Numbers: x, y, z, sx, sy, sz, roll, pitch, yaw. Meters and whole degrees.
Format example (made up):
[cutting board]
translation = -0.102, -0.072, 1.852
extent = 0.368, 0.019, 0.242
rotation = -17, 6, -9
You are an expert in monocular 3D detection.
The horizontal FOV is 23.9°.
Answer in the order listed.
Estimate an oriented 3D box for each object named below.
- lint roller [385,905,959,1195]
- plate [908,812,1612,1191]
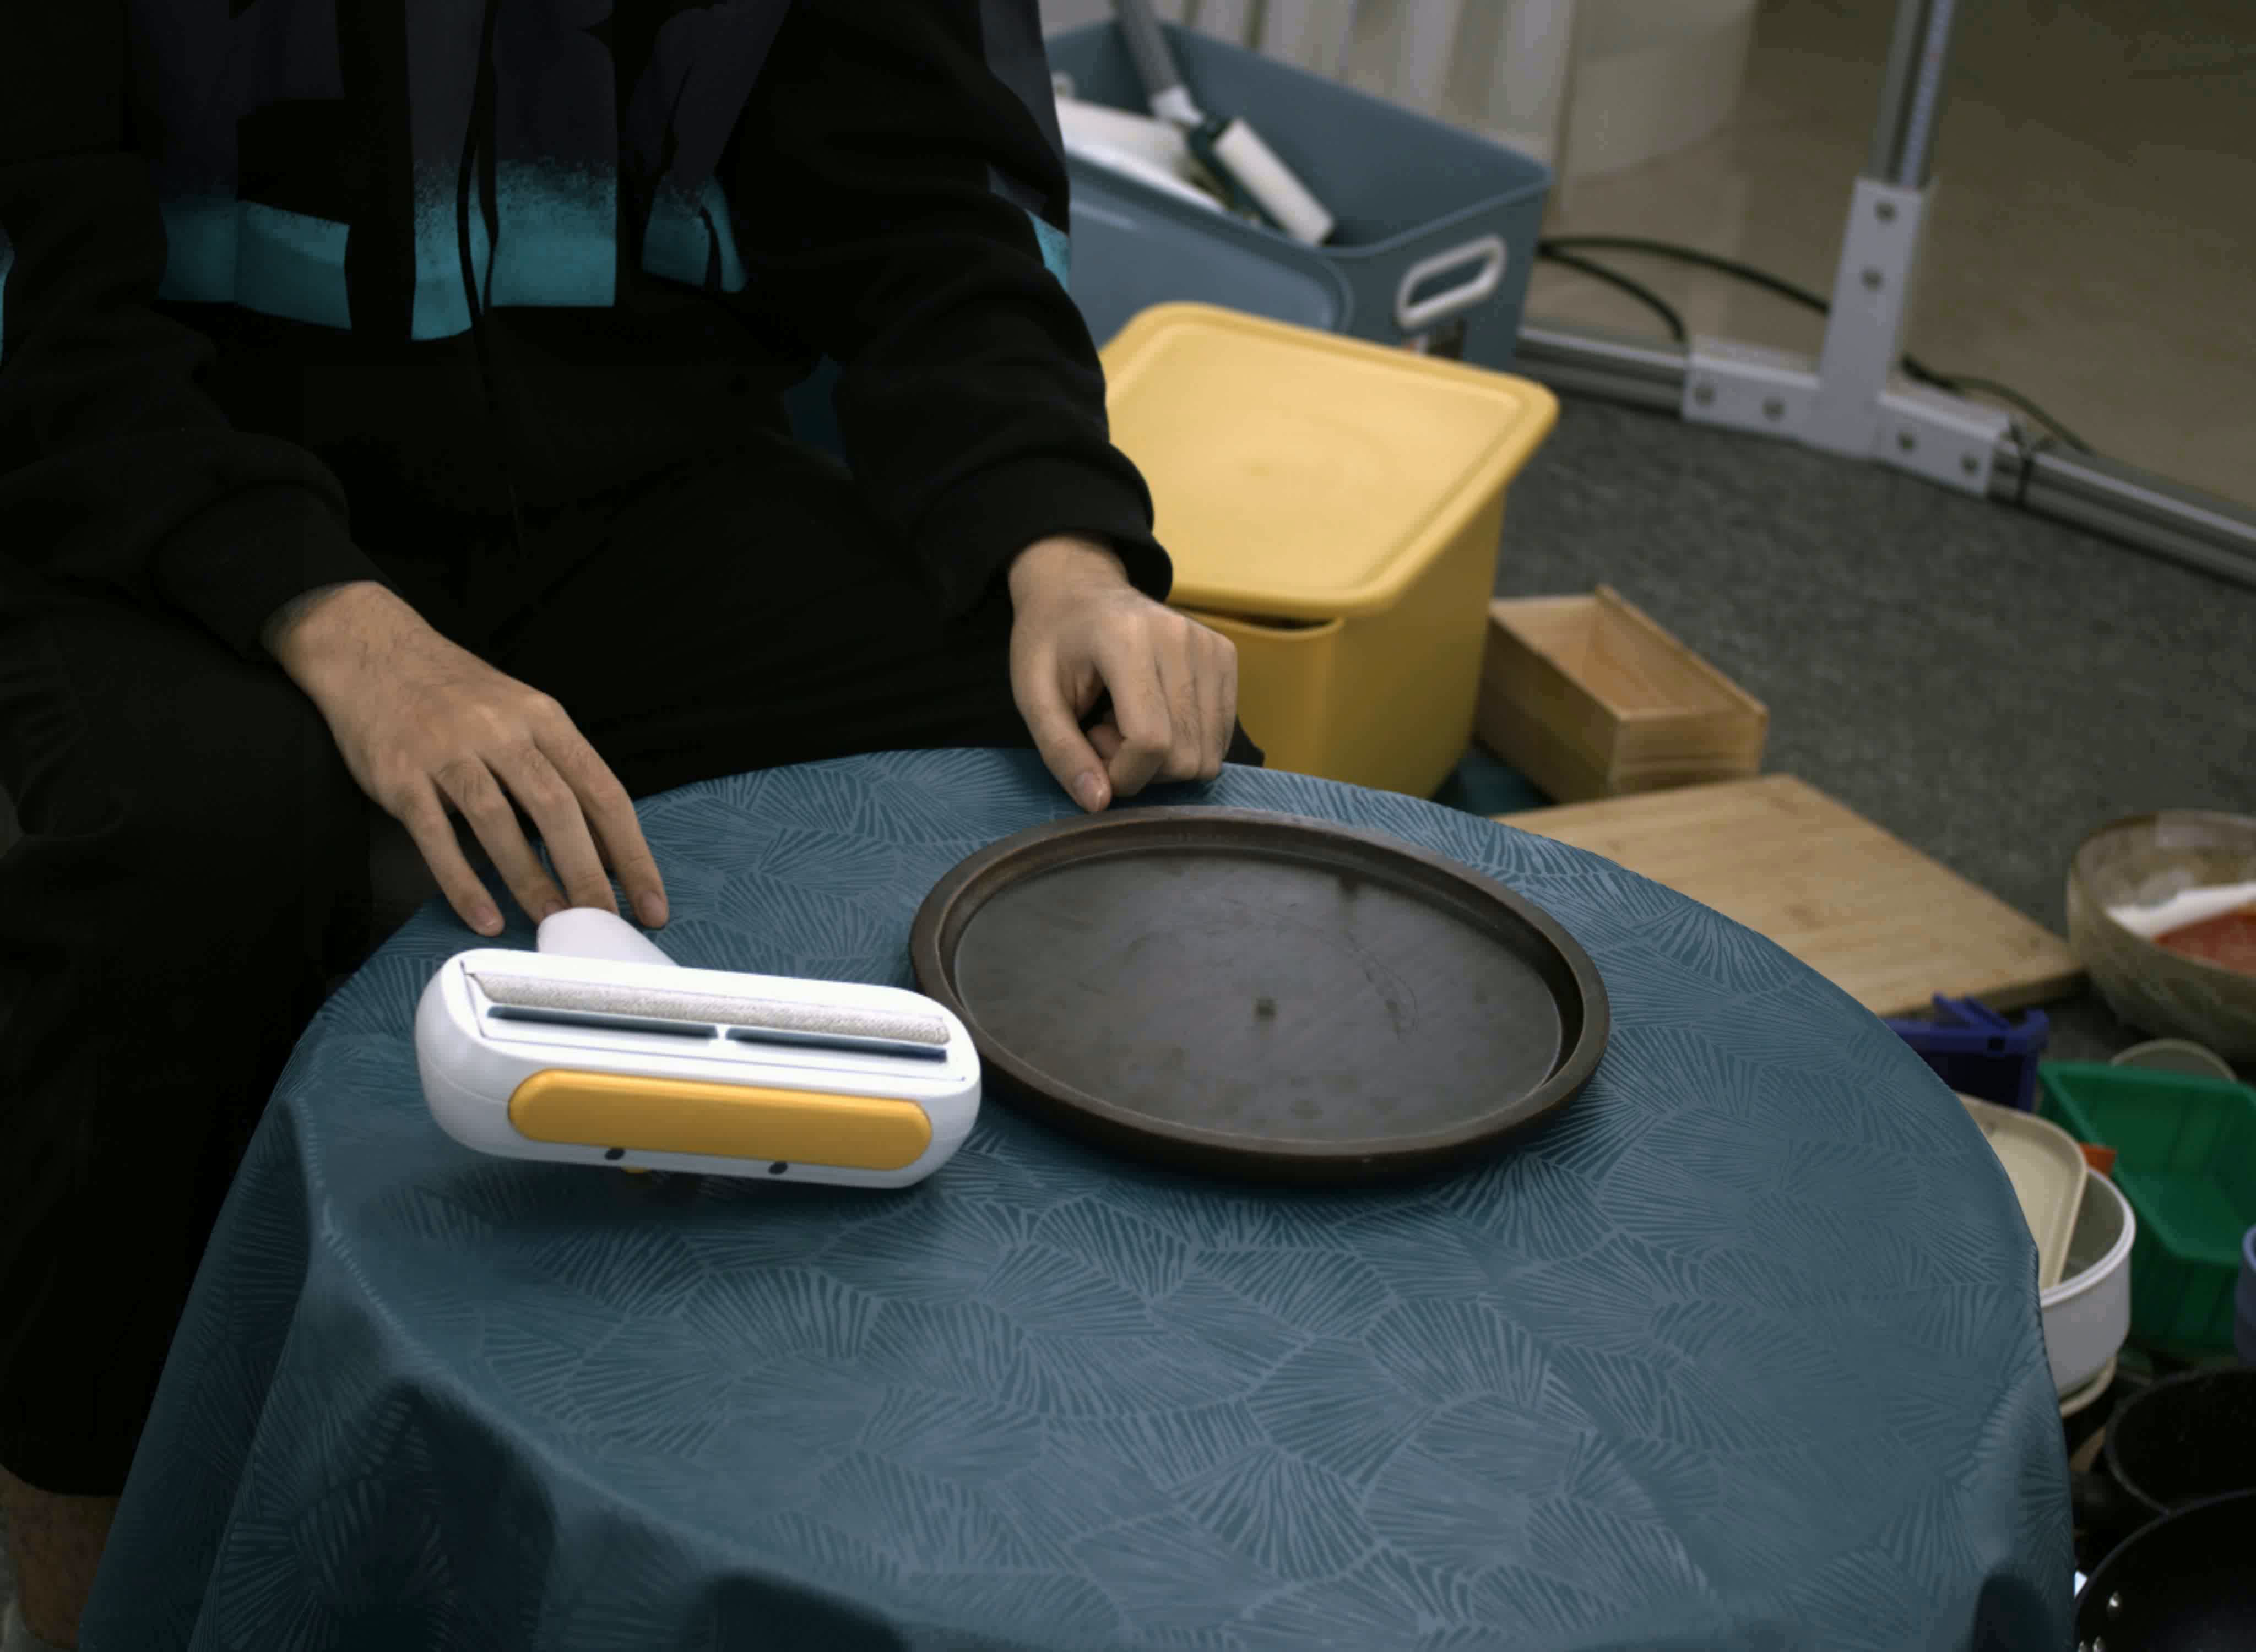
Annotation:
[lint roller]
translation = -0.165, 0.061, 1.811
extent = 0.191, 0.074, 0.194
rotation = 4, 25, -17
[plate]
translation = 0.047, 0.061, 1.908
extent = 0.254, 0.029, 0.256
rotation = 5, 26, -3
